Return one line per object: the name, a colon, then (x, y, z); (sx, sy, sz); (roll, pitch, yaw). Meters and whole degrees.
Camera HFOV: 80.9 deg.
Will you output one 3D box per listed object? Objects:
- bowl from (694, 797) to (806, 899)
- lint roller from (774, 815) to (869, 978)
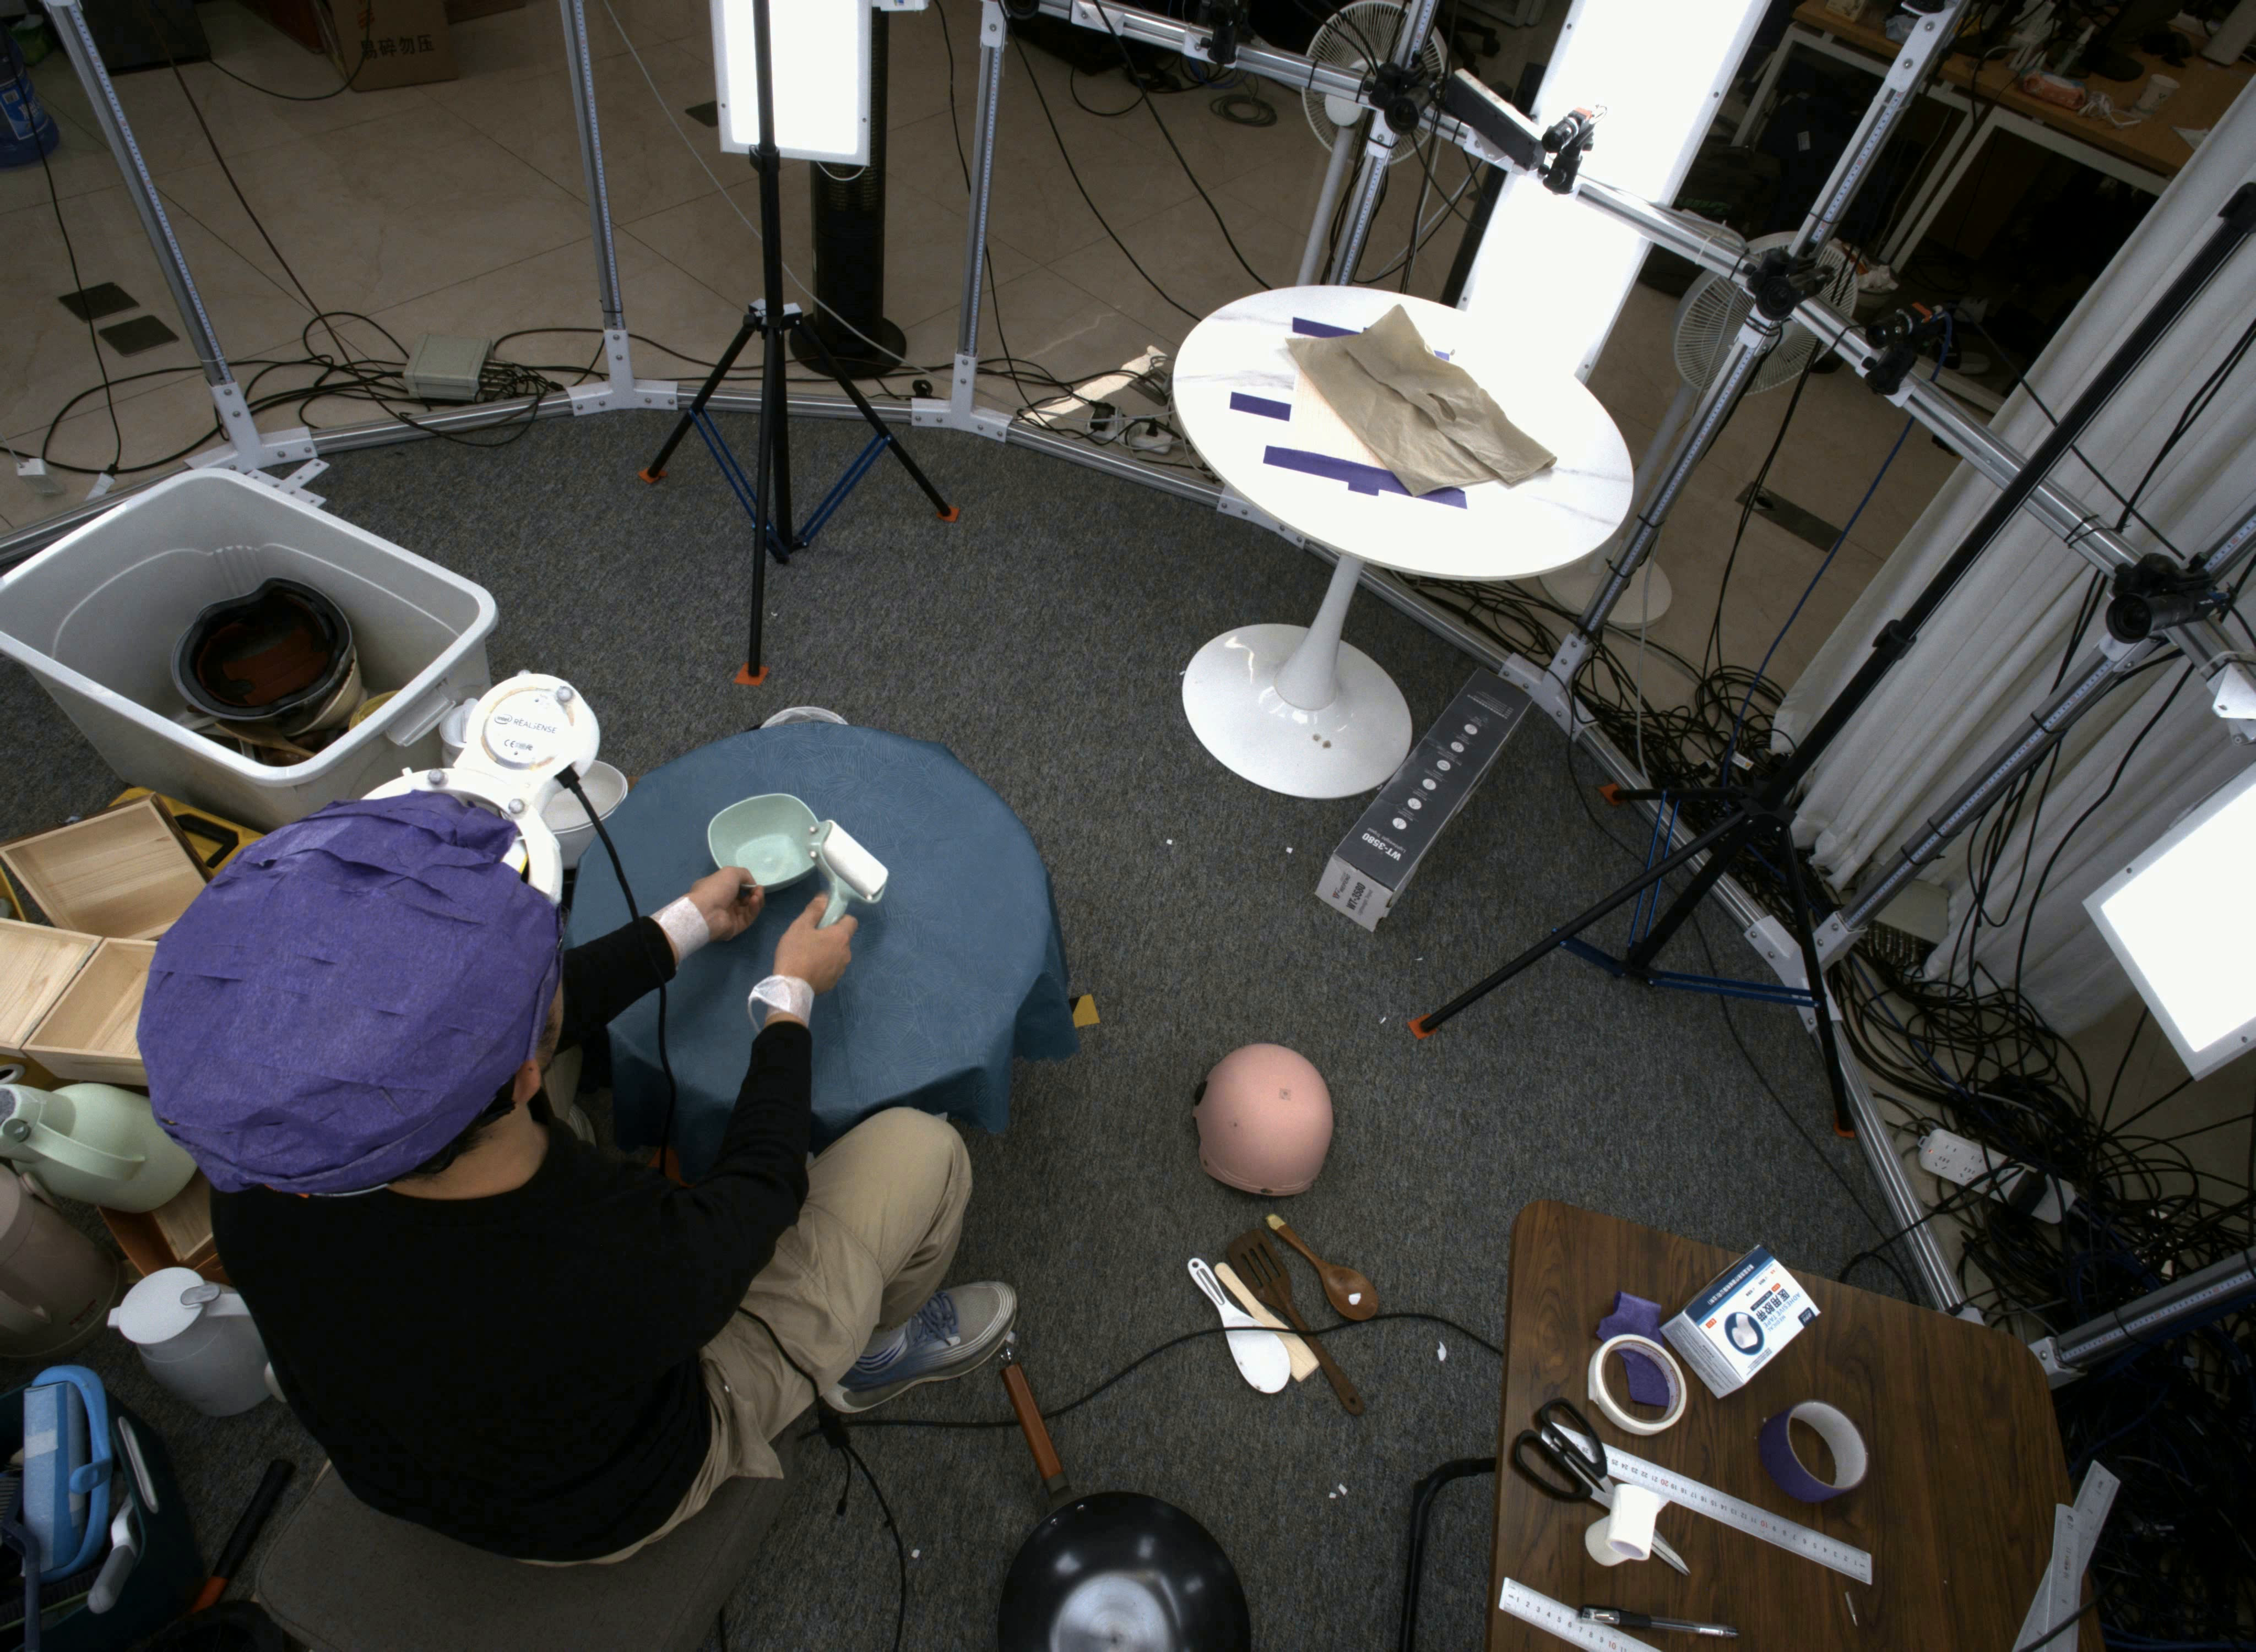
bowl: (-0.474, 0.036, 1.641); (0.151, 0.060, 0.149); (7, 52, -7)
lint roller: (-0.378, 0.089, 1.545); (0.047, 0.121, 0.194); (-18, 44, 29)
